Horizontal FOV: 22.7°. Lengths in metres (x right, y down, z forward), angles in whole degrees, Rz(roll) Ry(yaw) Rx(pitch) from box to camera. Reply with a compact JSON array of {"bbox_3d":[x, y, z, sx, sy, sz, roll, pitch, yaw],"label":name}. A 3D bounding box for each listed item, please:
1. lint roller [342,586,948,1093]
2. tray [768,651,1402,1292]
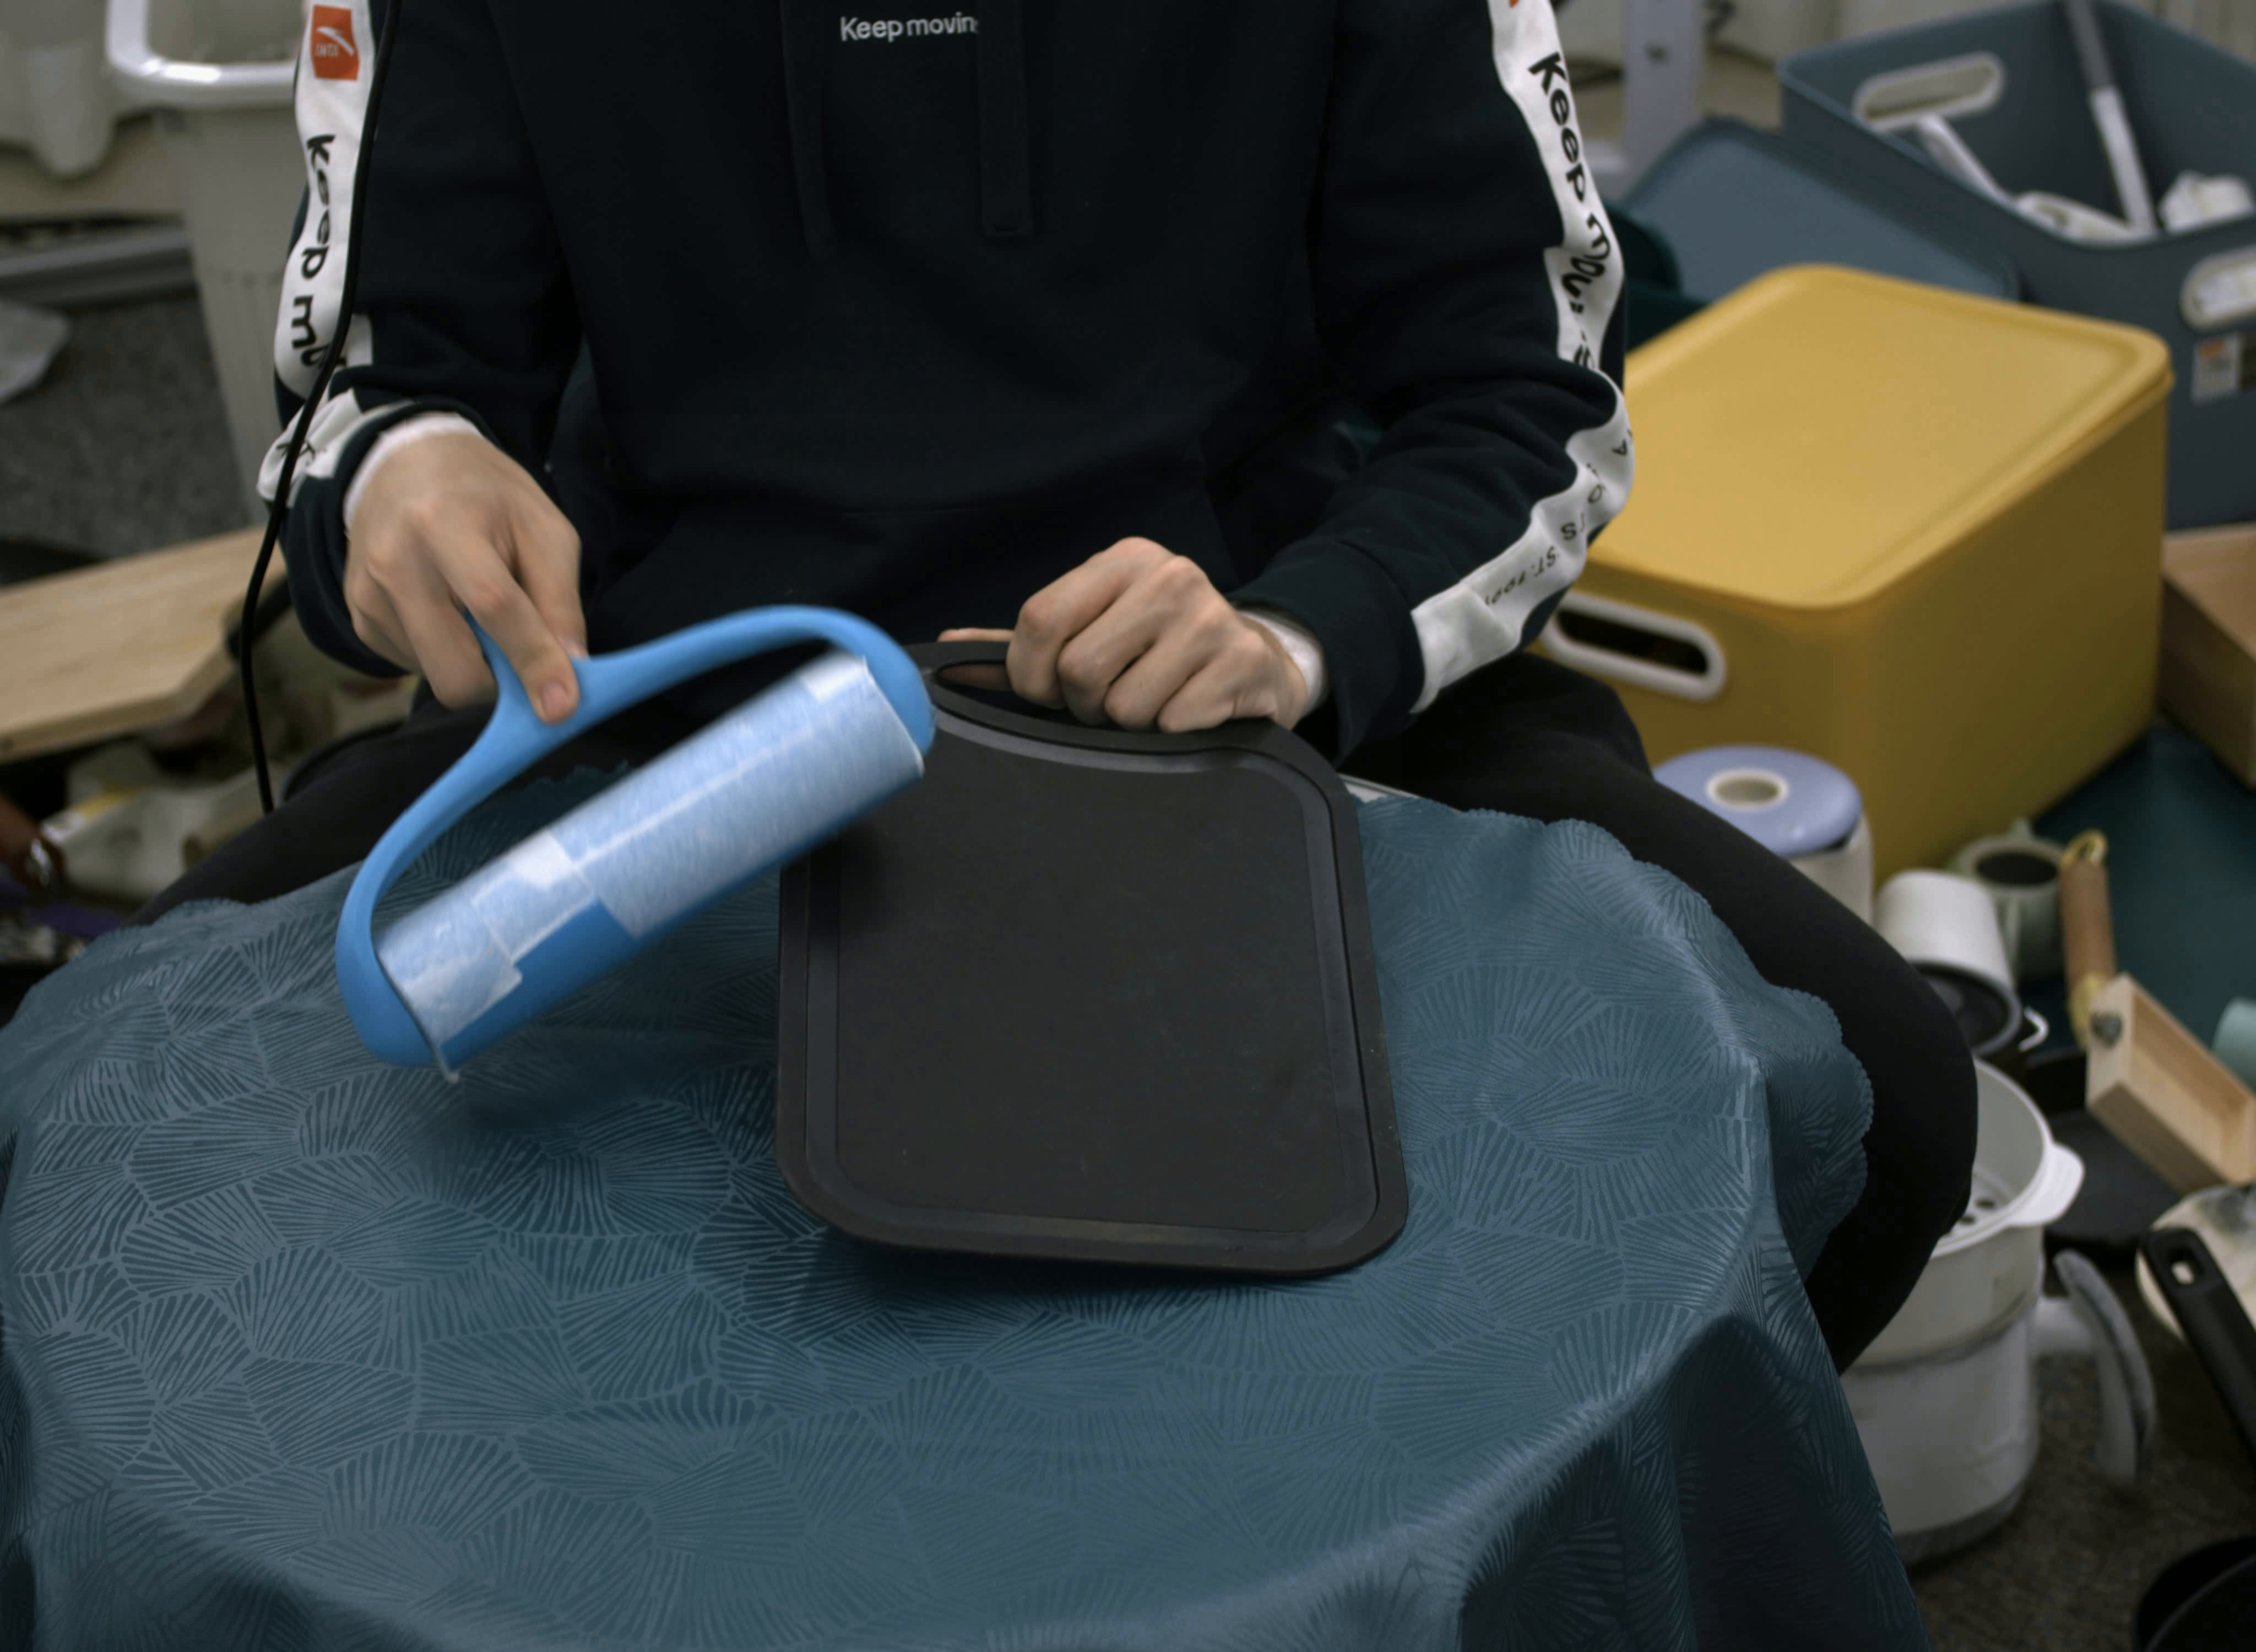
[{"bbox_3d":[-0.195,-0.025,1.934,0.230,0.067,0.182,-34,64,-11],"label":"lint roller"},{"bbox_3d":[-0.016,0.040,1.925,0.210,0.009,0.331,6,38,-7],"label":"tray"}]
